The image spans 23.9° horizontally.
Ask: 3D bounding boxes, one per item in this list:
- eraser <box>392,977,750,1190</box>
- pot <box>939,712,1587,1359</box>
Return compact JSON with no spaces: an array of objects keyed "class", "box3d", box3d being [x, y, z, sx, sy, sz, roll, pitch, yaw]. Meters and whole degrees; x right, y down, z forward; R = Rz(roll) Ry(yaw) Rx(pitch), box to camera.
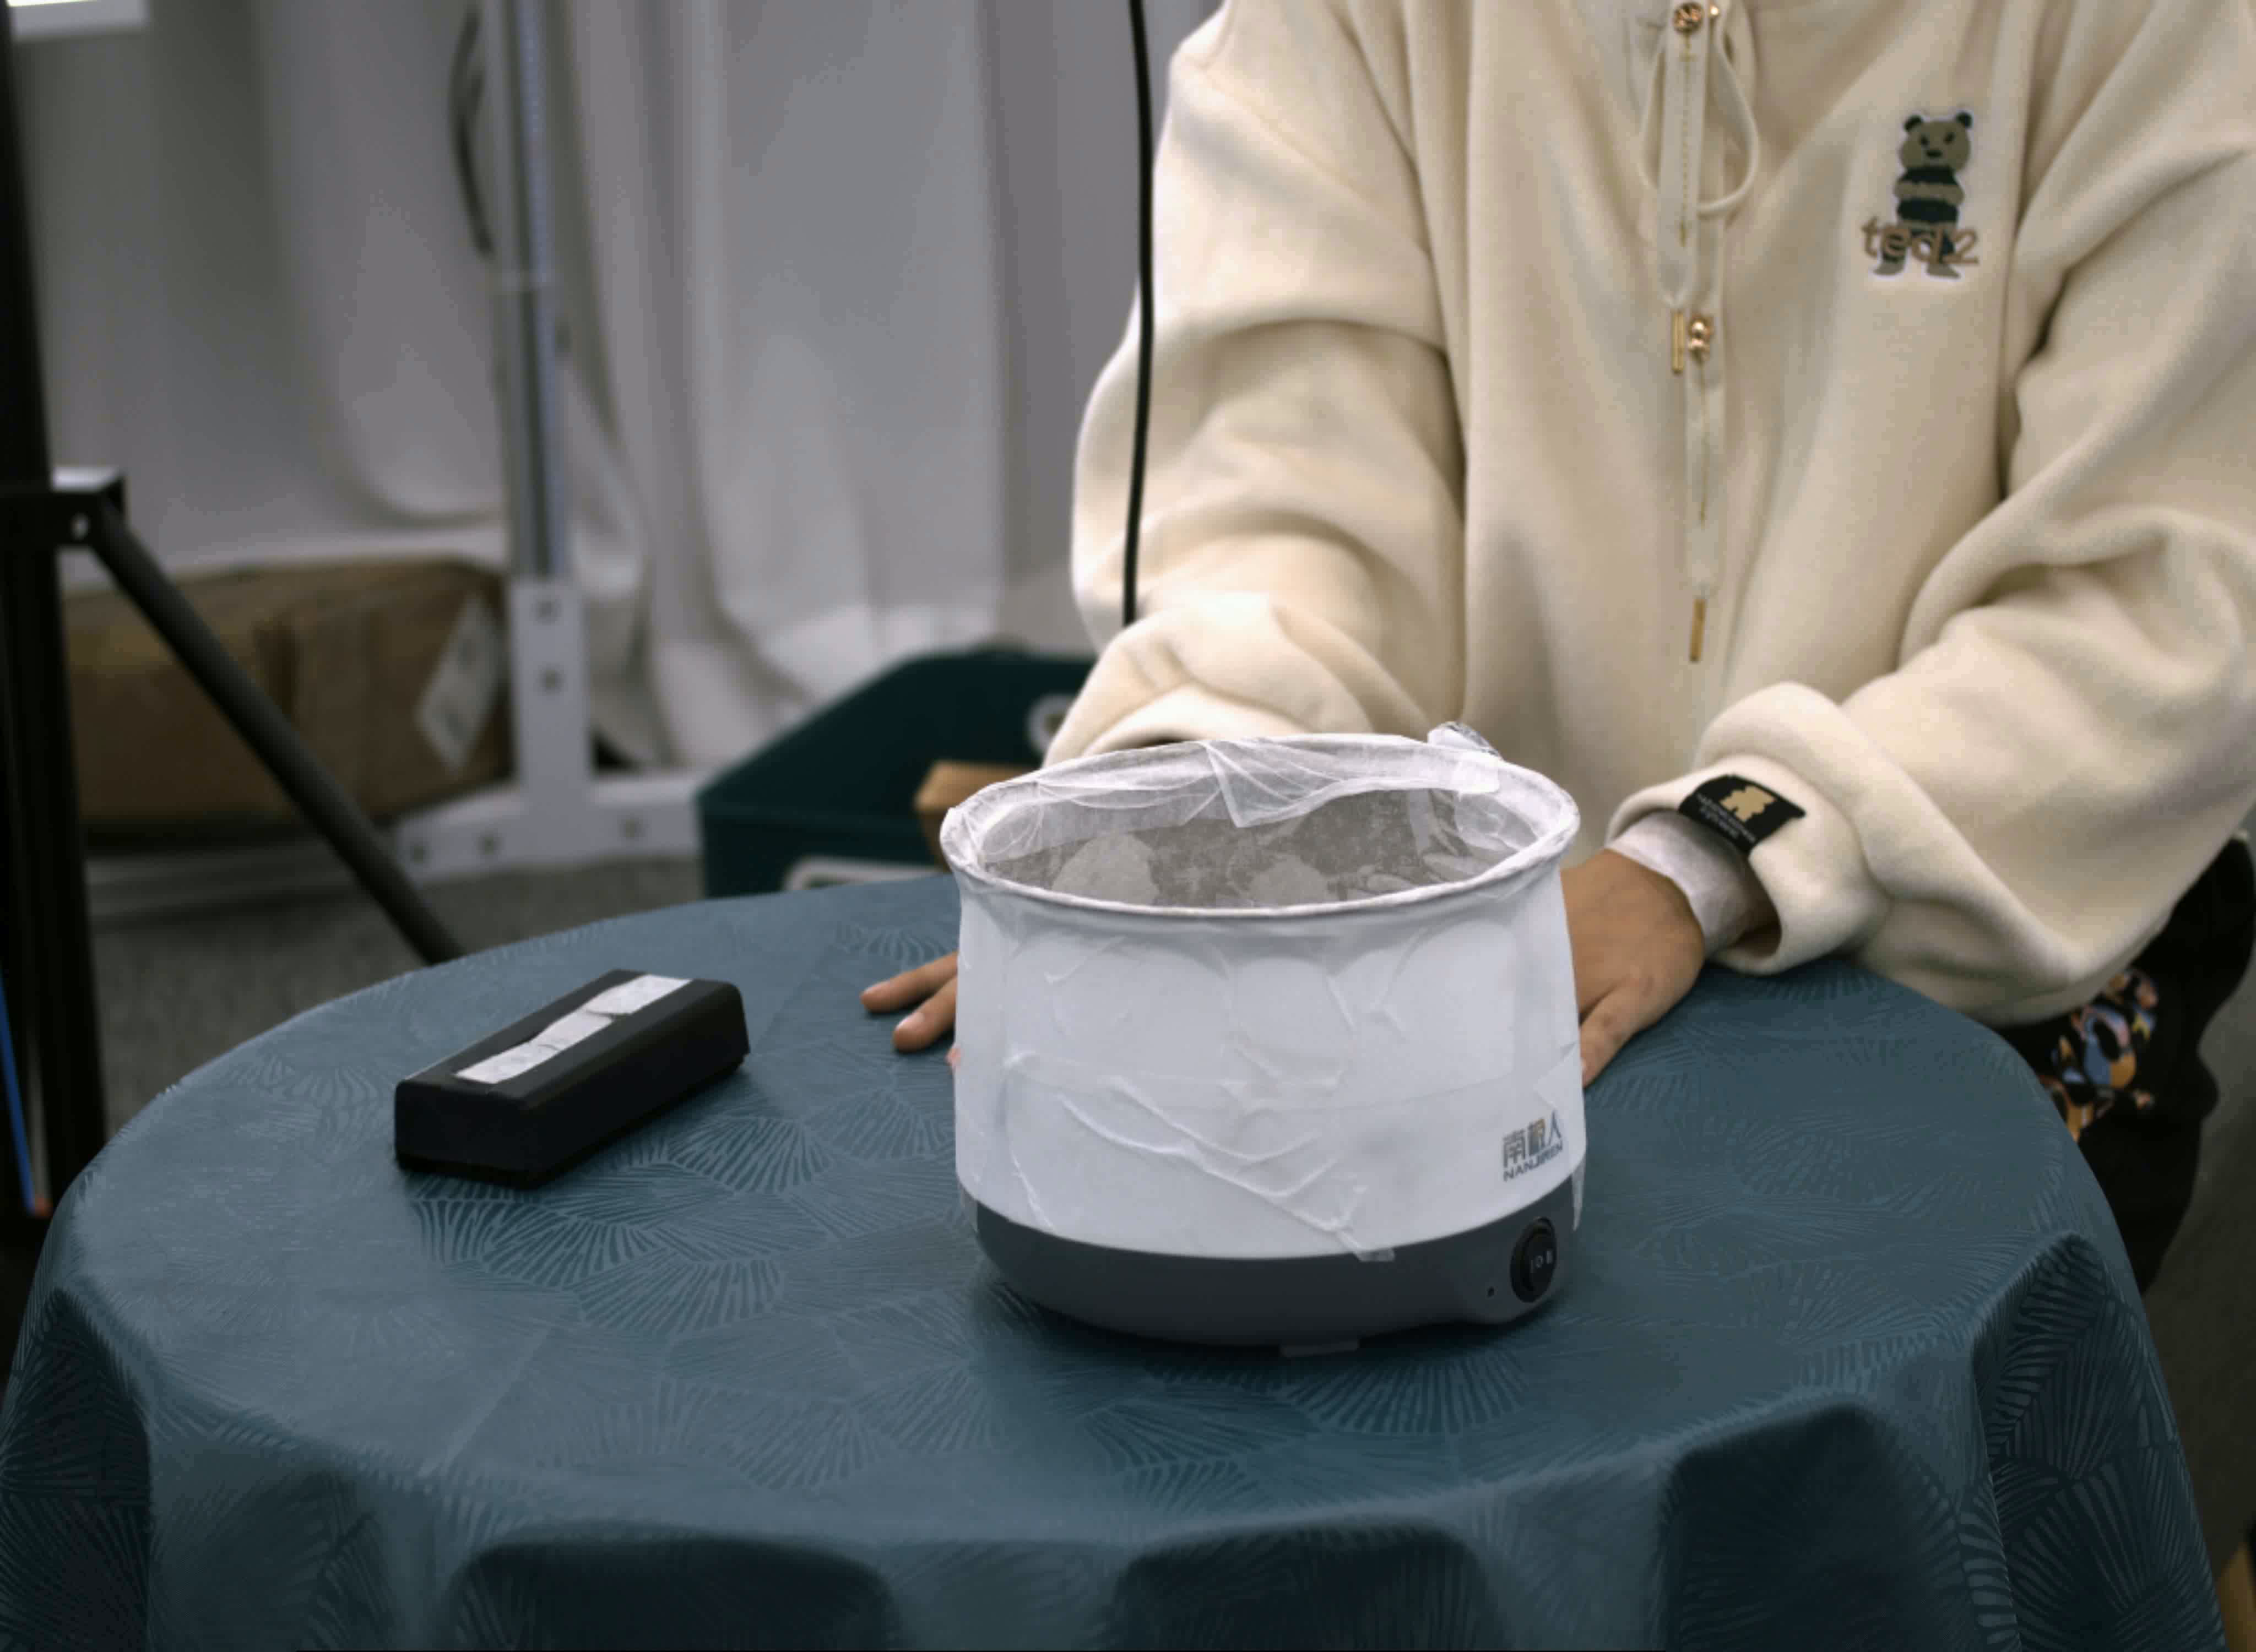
[{"class":"eraser","box3d":[-0.170,0.078,1.642,0.054,0.030,0.123,7,17,28]},{"class":"pot","box3d":[0.054,0.051,1.493,0.182,0.136,0.229,9,20,35]}]
